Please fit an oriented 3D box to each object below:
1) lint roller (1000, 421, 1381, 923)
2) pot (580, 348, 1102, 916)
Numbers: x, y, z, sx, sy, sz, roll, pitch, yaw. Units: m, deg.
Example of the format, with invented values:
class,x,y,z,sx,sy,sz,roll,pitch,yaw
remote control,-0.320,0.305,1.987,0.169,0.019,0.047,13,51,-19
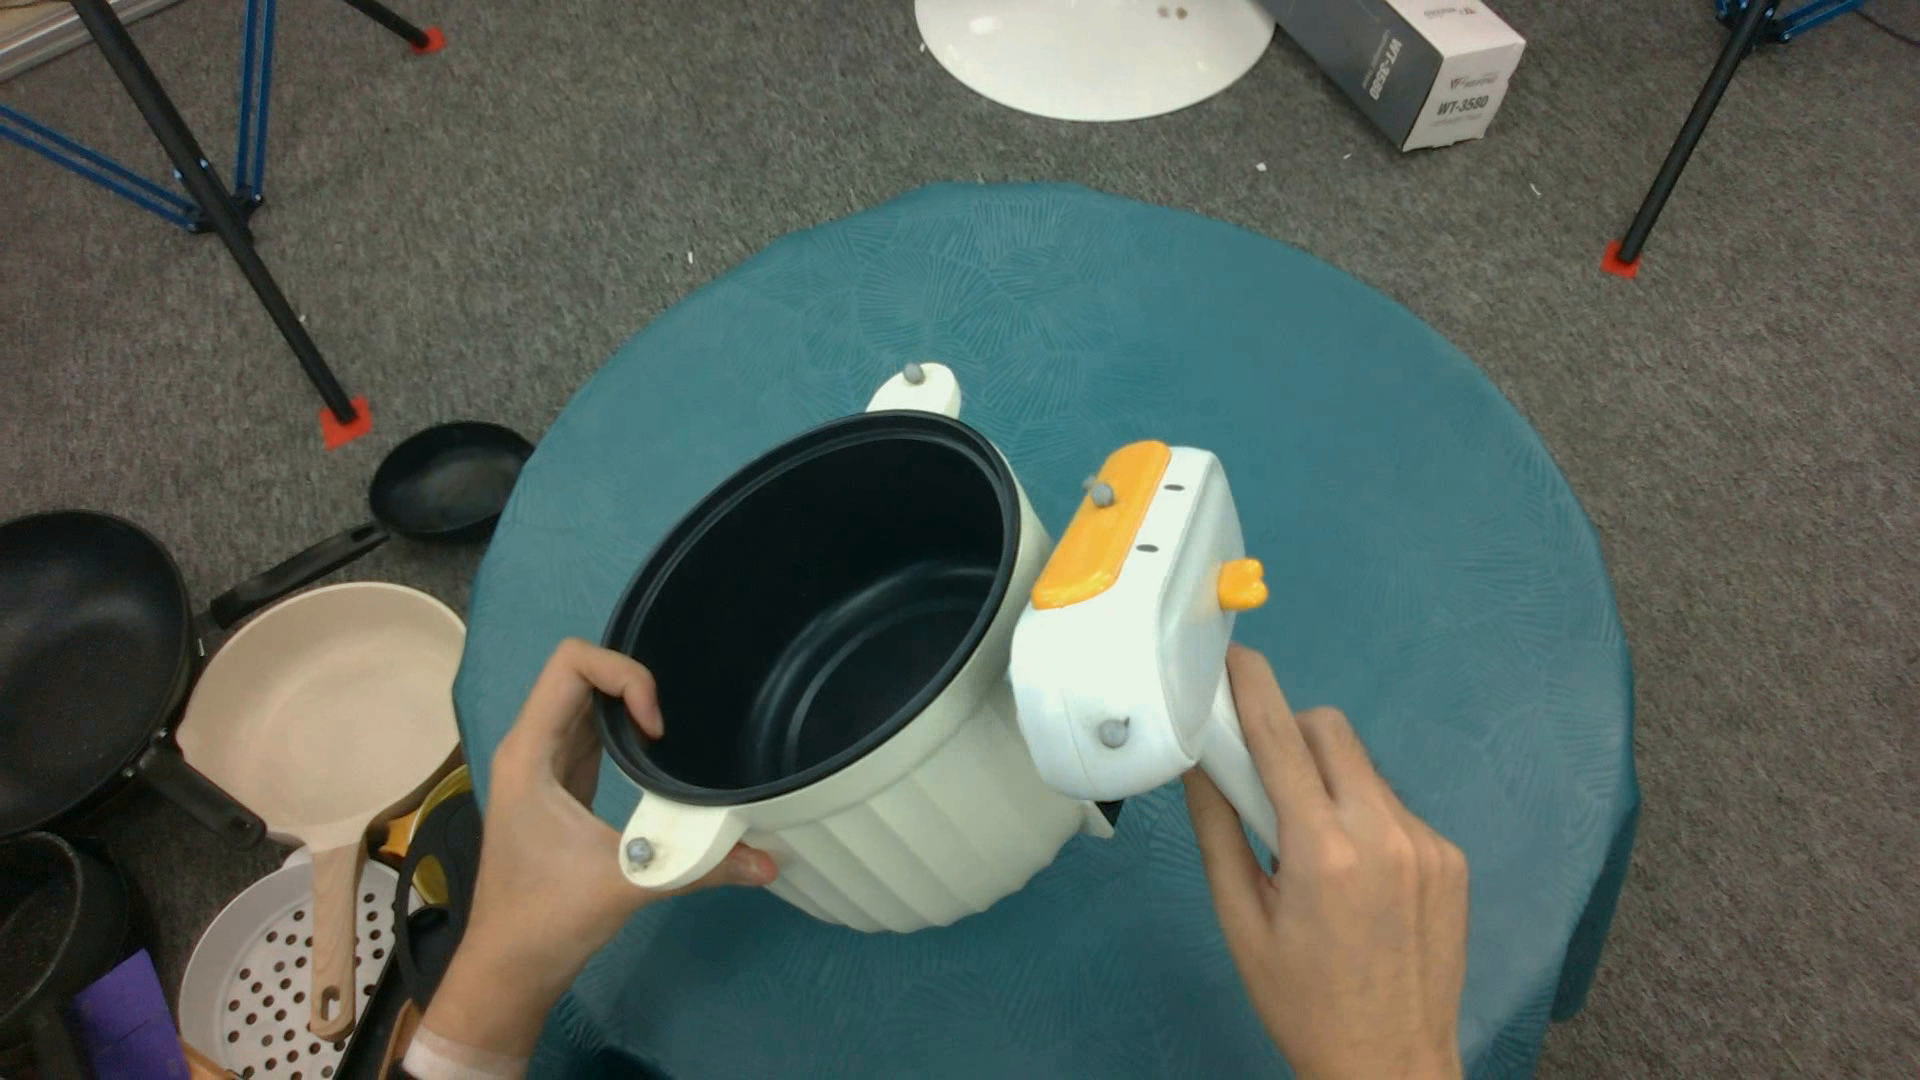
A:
class,x,y,z,sx,sy,sz,roll,pitch,yaw
lint roller,0.090,0.064,0.495,0.074,0.192,0.193,-22,18,20
pot,-0.042,0.053,0.556,0.190,0.142,0.241,4,52,31
